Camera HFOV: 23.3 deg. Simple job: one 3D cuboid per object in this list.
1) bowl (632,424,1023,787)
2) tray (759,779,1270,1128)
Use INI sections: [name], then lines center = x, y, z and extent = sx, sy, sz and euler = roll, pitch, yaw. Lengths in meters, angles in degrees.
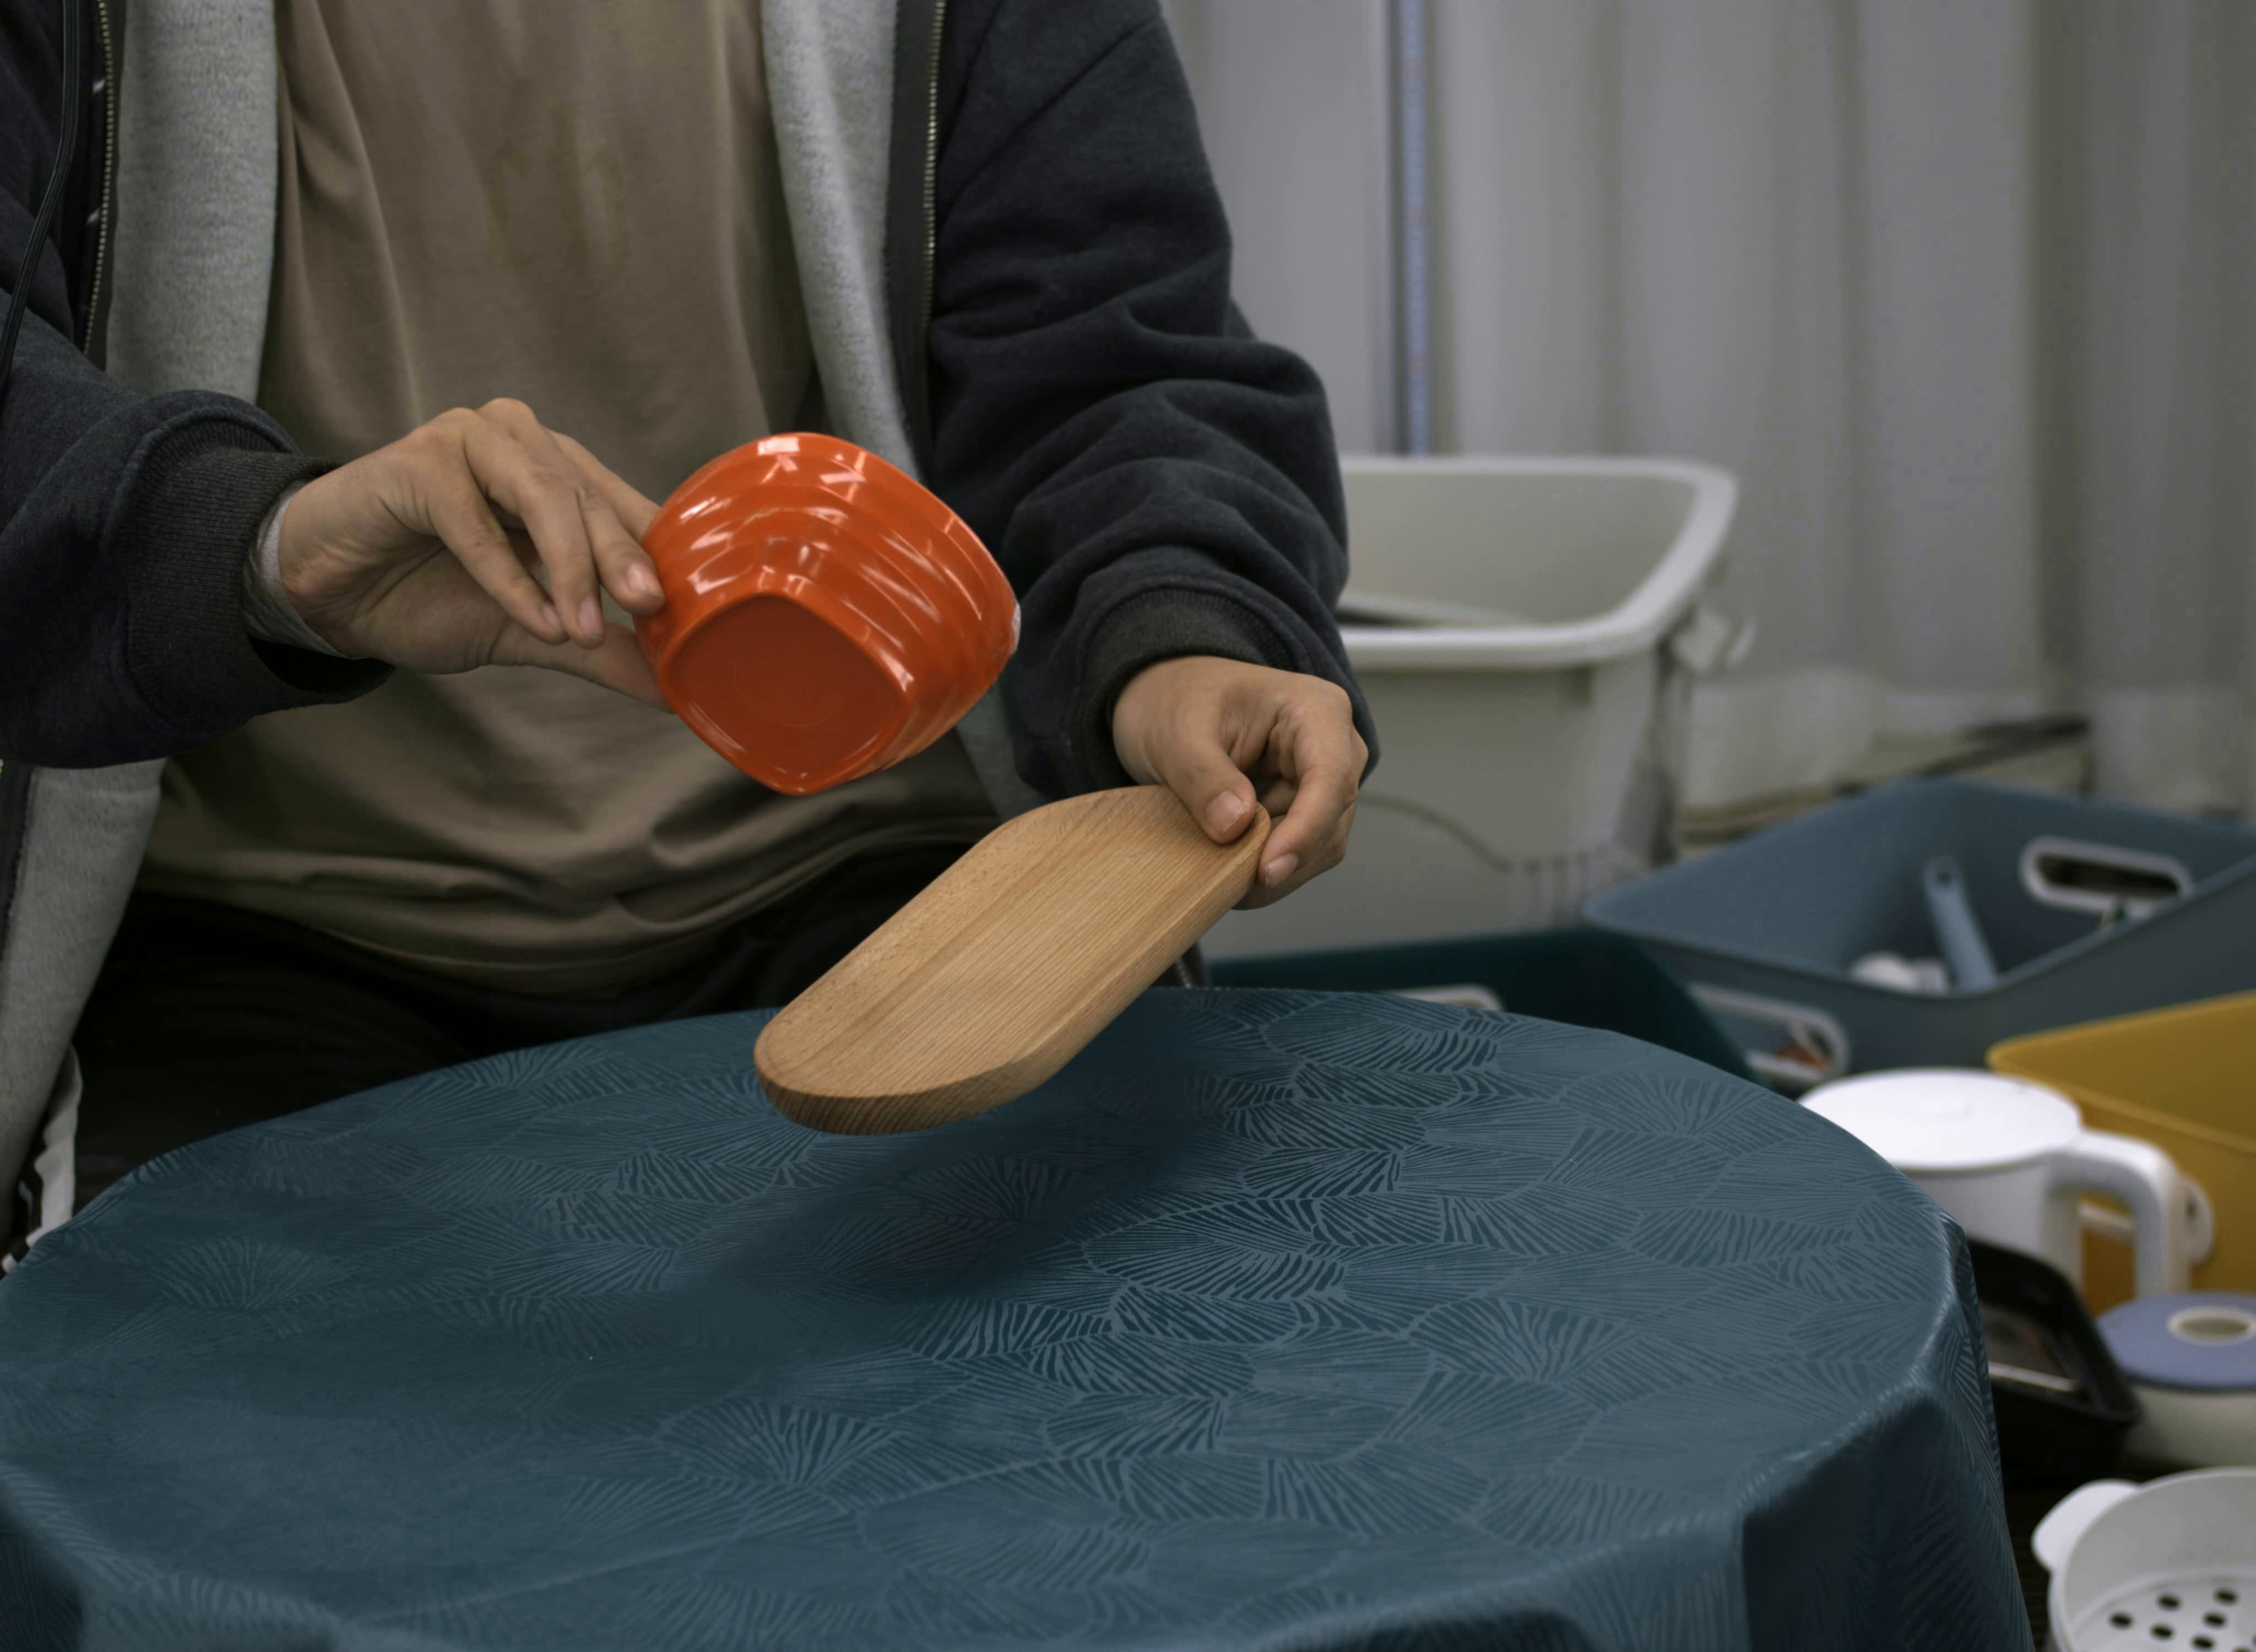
[bowl]
center = -0.094, -0.056, 1.609
extent = 0.119, 0.117, 0.052
euler = 2, 40, 16
[tray]
center = -0.032, 0.037, 1.702
extent = 0.102, 0.020, 0.232
euler = 2, 23, 27
